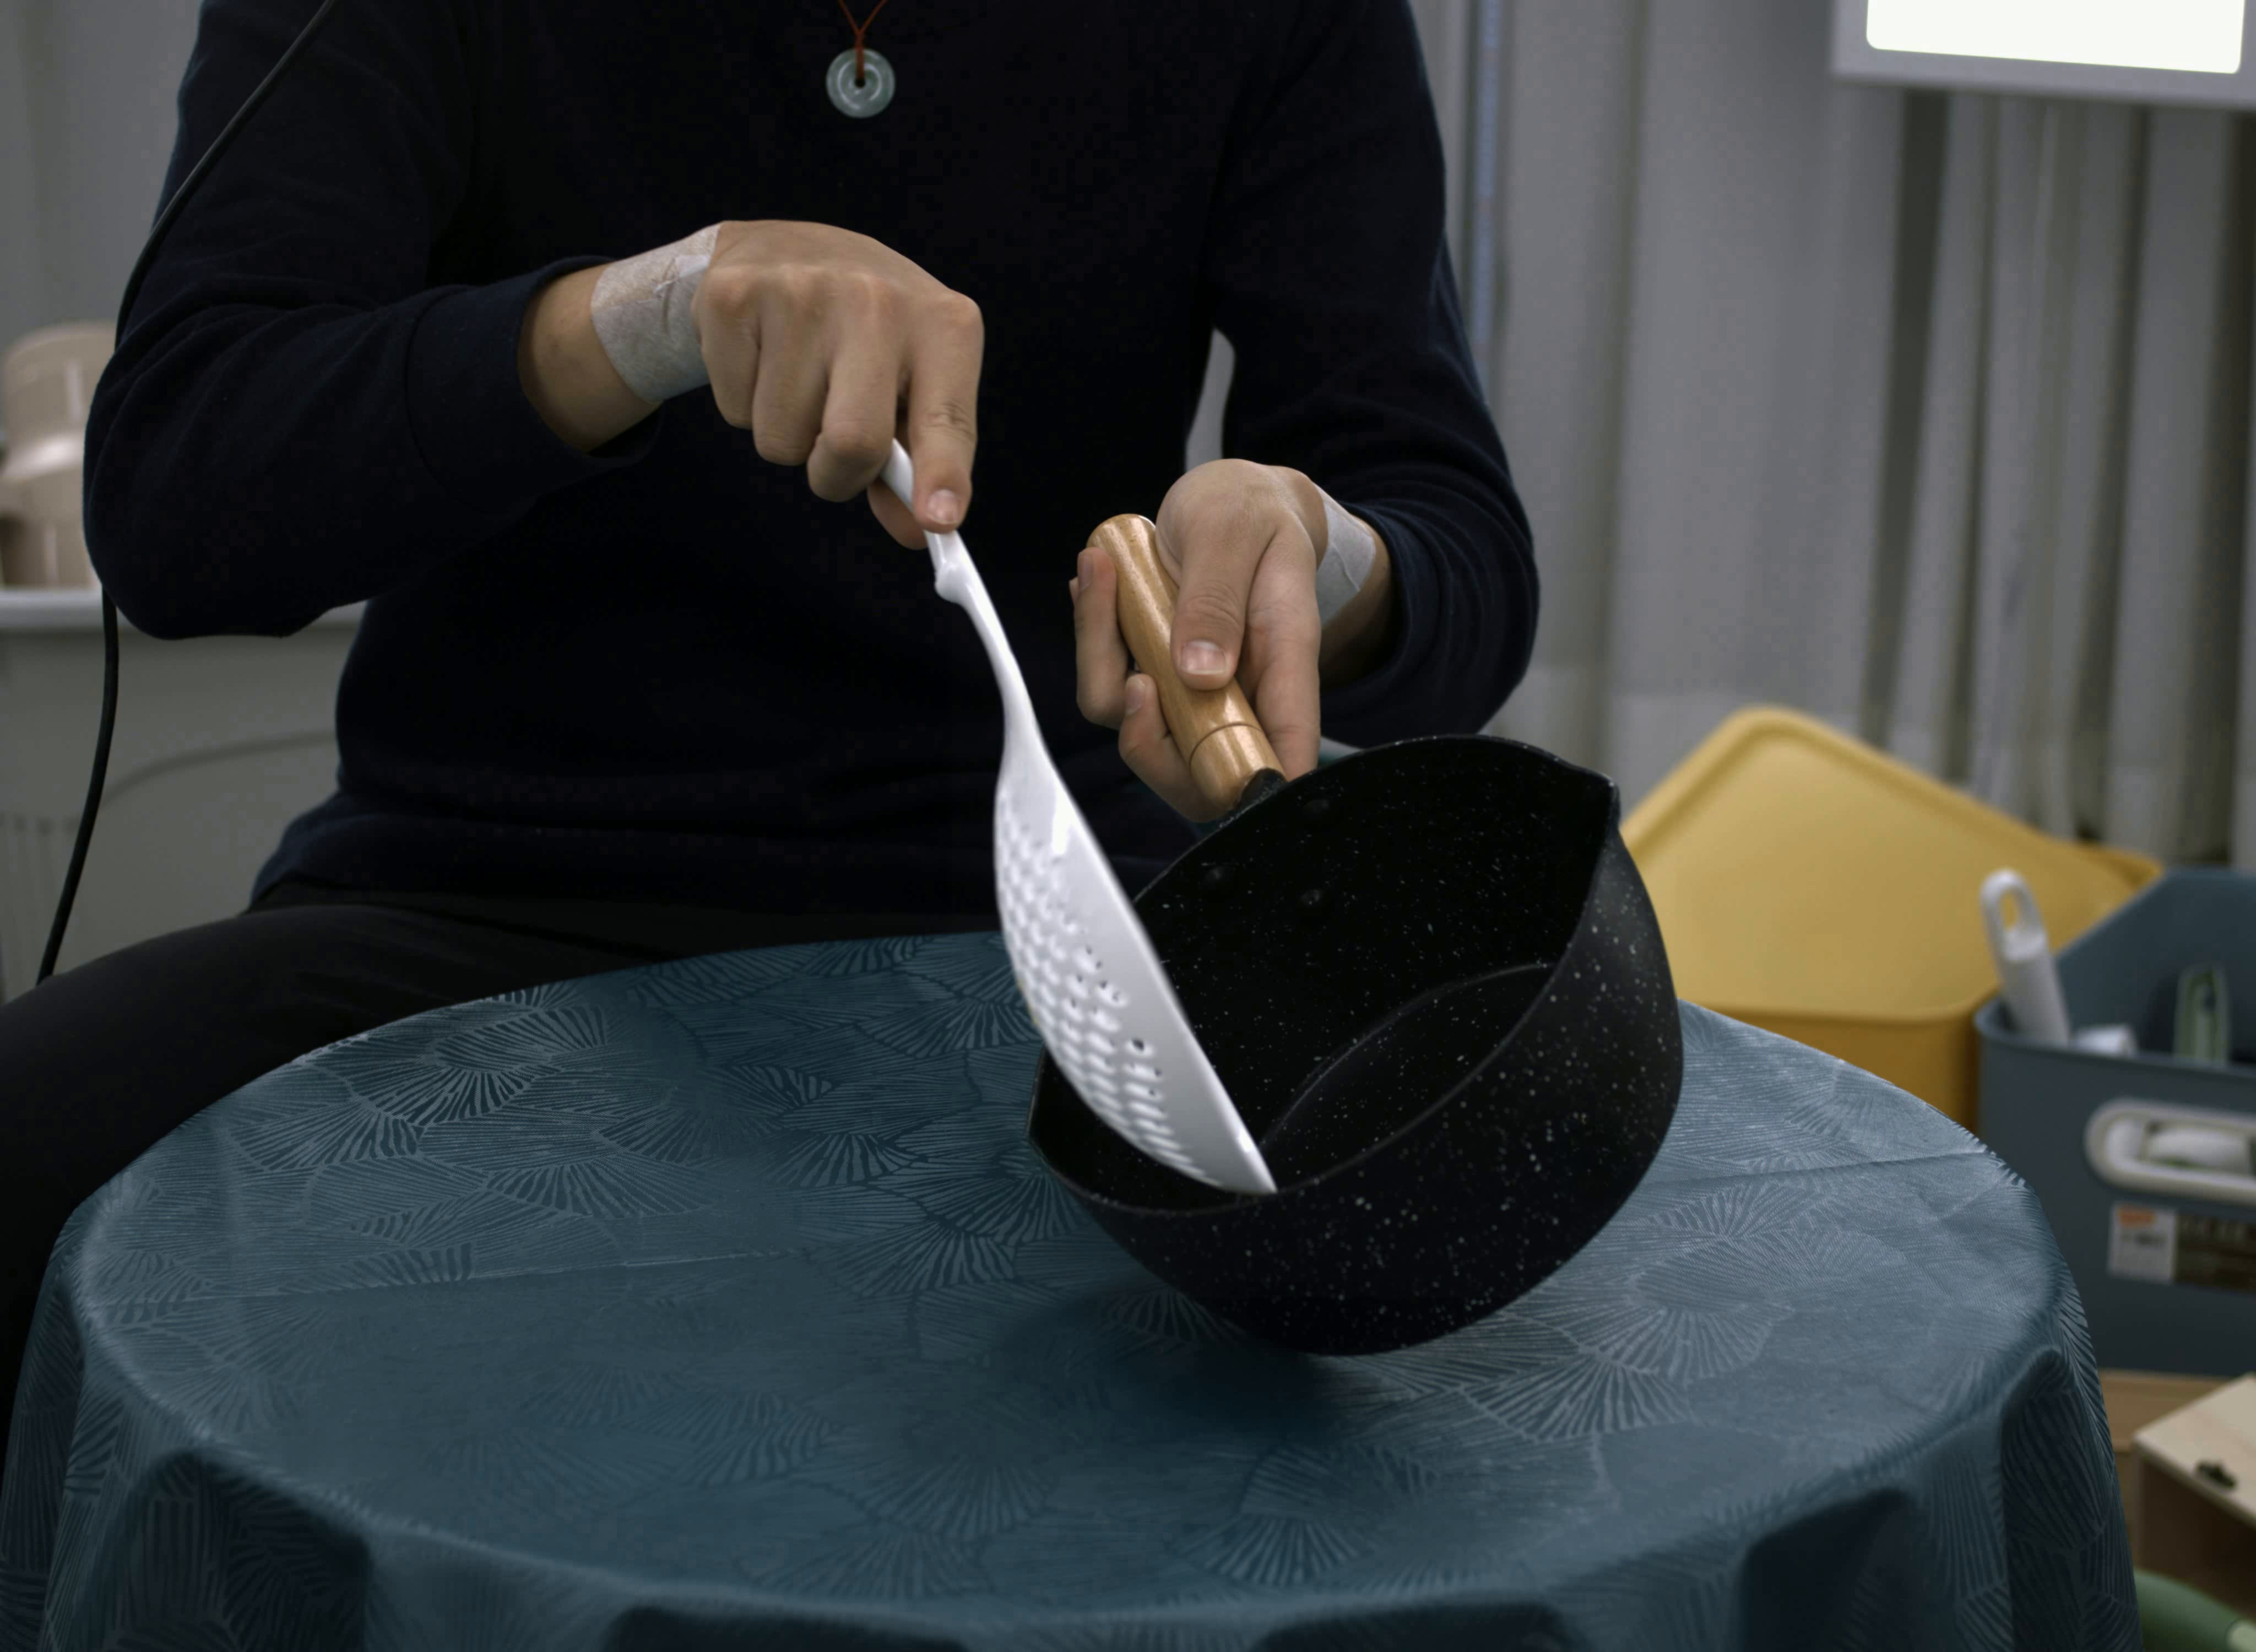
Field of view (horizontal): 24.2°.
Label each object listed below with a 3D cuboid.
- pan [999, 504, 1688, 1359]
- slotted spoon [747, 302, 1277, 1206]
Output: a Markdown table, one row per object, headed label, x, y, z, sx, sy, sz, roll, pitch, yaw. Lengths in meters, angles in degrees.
| label | x | y | z | sx | sy | sz | roll | pitch | yaw |
| --- | --- | --- | --- | --- | --- | --- | --- | --- | --- |
| pan | 0.051 | 0.021 | 1.560 | 0.207 | 0.109 | 0.339 | -34 | 33 | 6 |
| slotted spoon | -0.040 | -0.032 | 1.492 | 0.050 | 0.138 | 0.344 | -24 | 53 | 4 |
